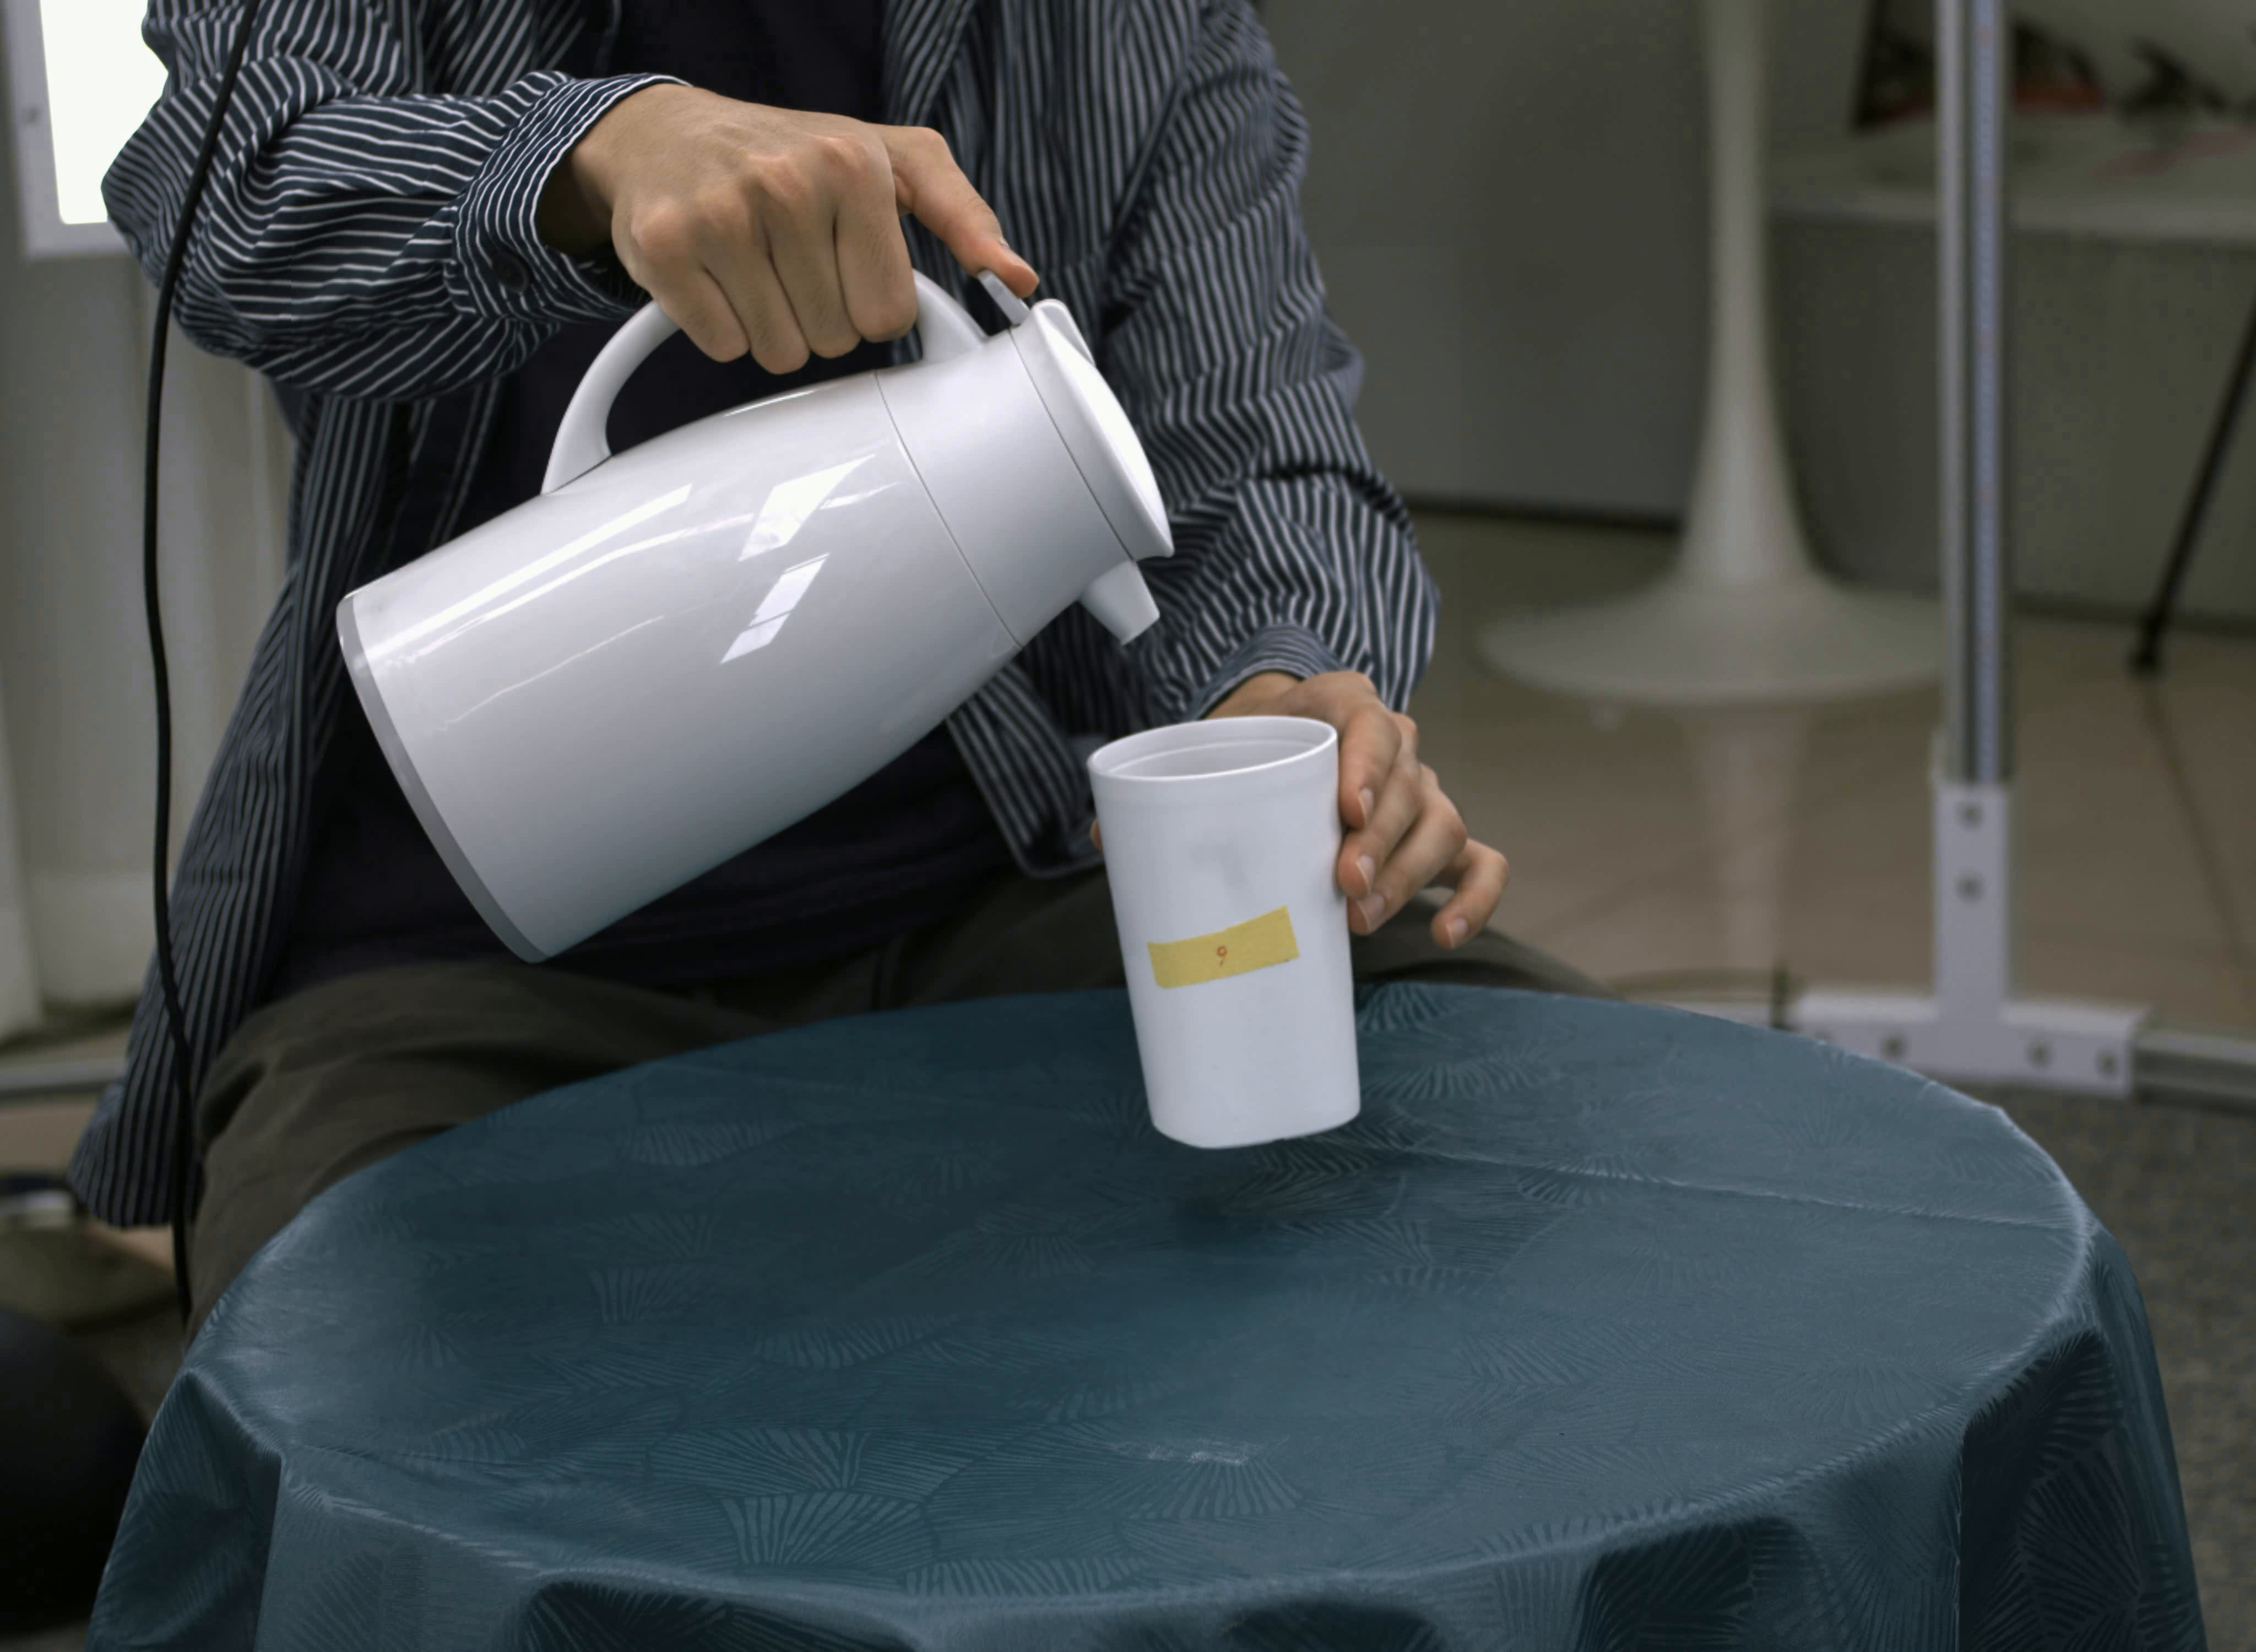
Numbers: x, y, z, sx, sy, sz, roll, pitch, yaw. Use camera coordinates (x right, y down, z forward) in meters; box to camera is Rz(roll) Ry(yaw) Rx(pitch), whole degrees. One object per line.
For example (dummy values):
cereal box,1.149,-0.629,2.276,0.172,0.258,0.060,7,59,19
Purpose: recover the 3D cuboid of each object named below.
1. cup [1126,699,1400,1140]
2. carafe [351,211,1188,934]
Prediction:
cup,0.047,0.030,1.723,0.080,0.127,0.082,-7,12,1
carafe,-0.113,-0.095,1.688,0.247,0.168,0.132,-26,10,6
